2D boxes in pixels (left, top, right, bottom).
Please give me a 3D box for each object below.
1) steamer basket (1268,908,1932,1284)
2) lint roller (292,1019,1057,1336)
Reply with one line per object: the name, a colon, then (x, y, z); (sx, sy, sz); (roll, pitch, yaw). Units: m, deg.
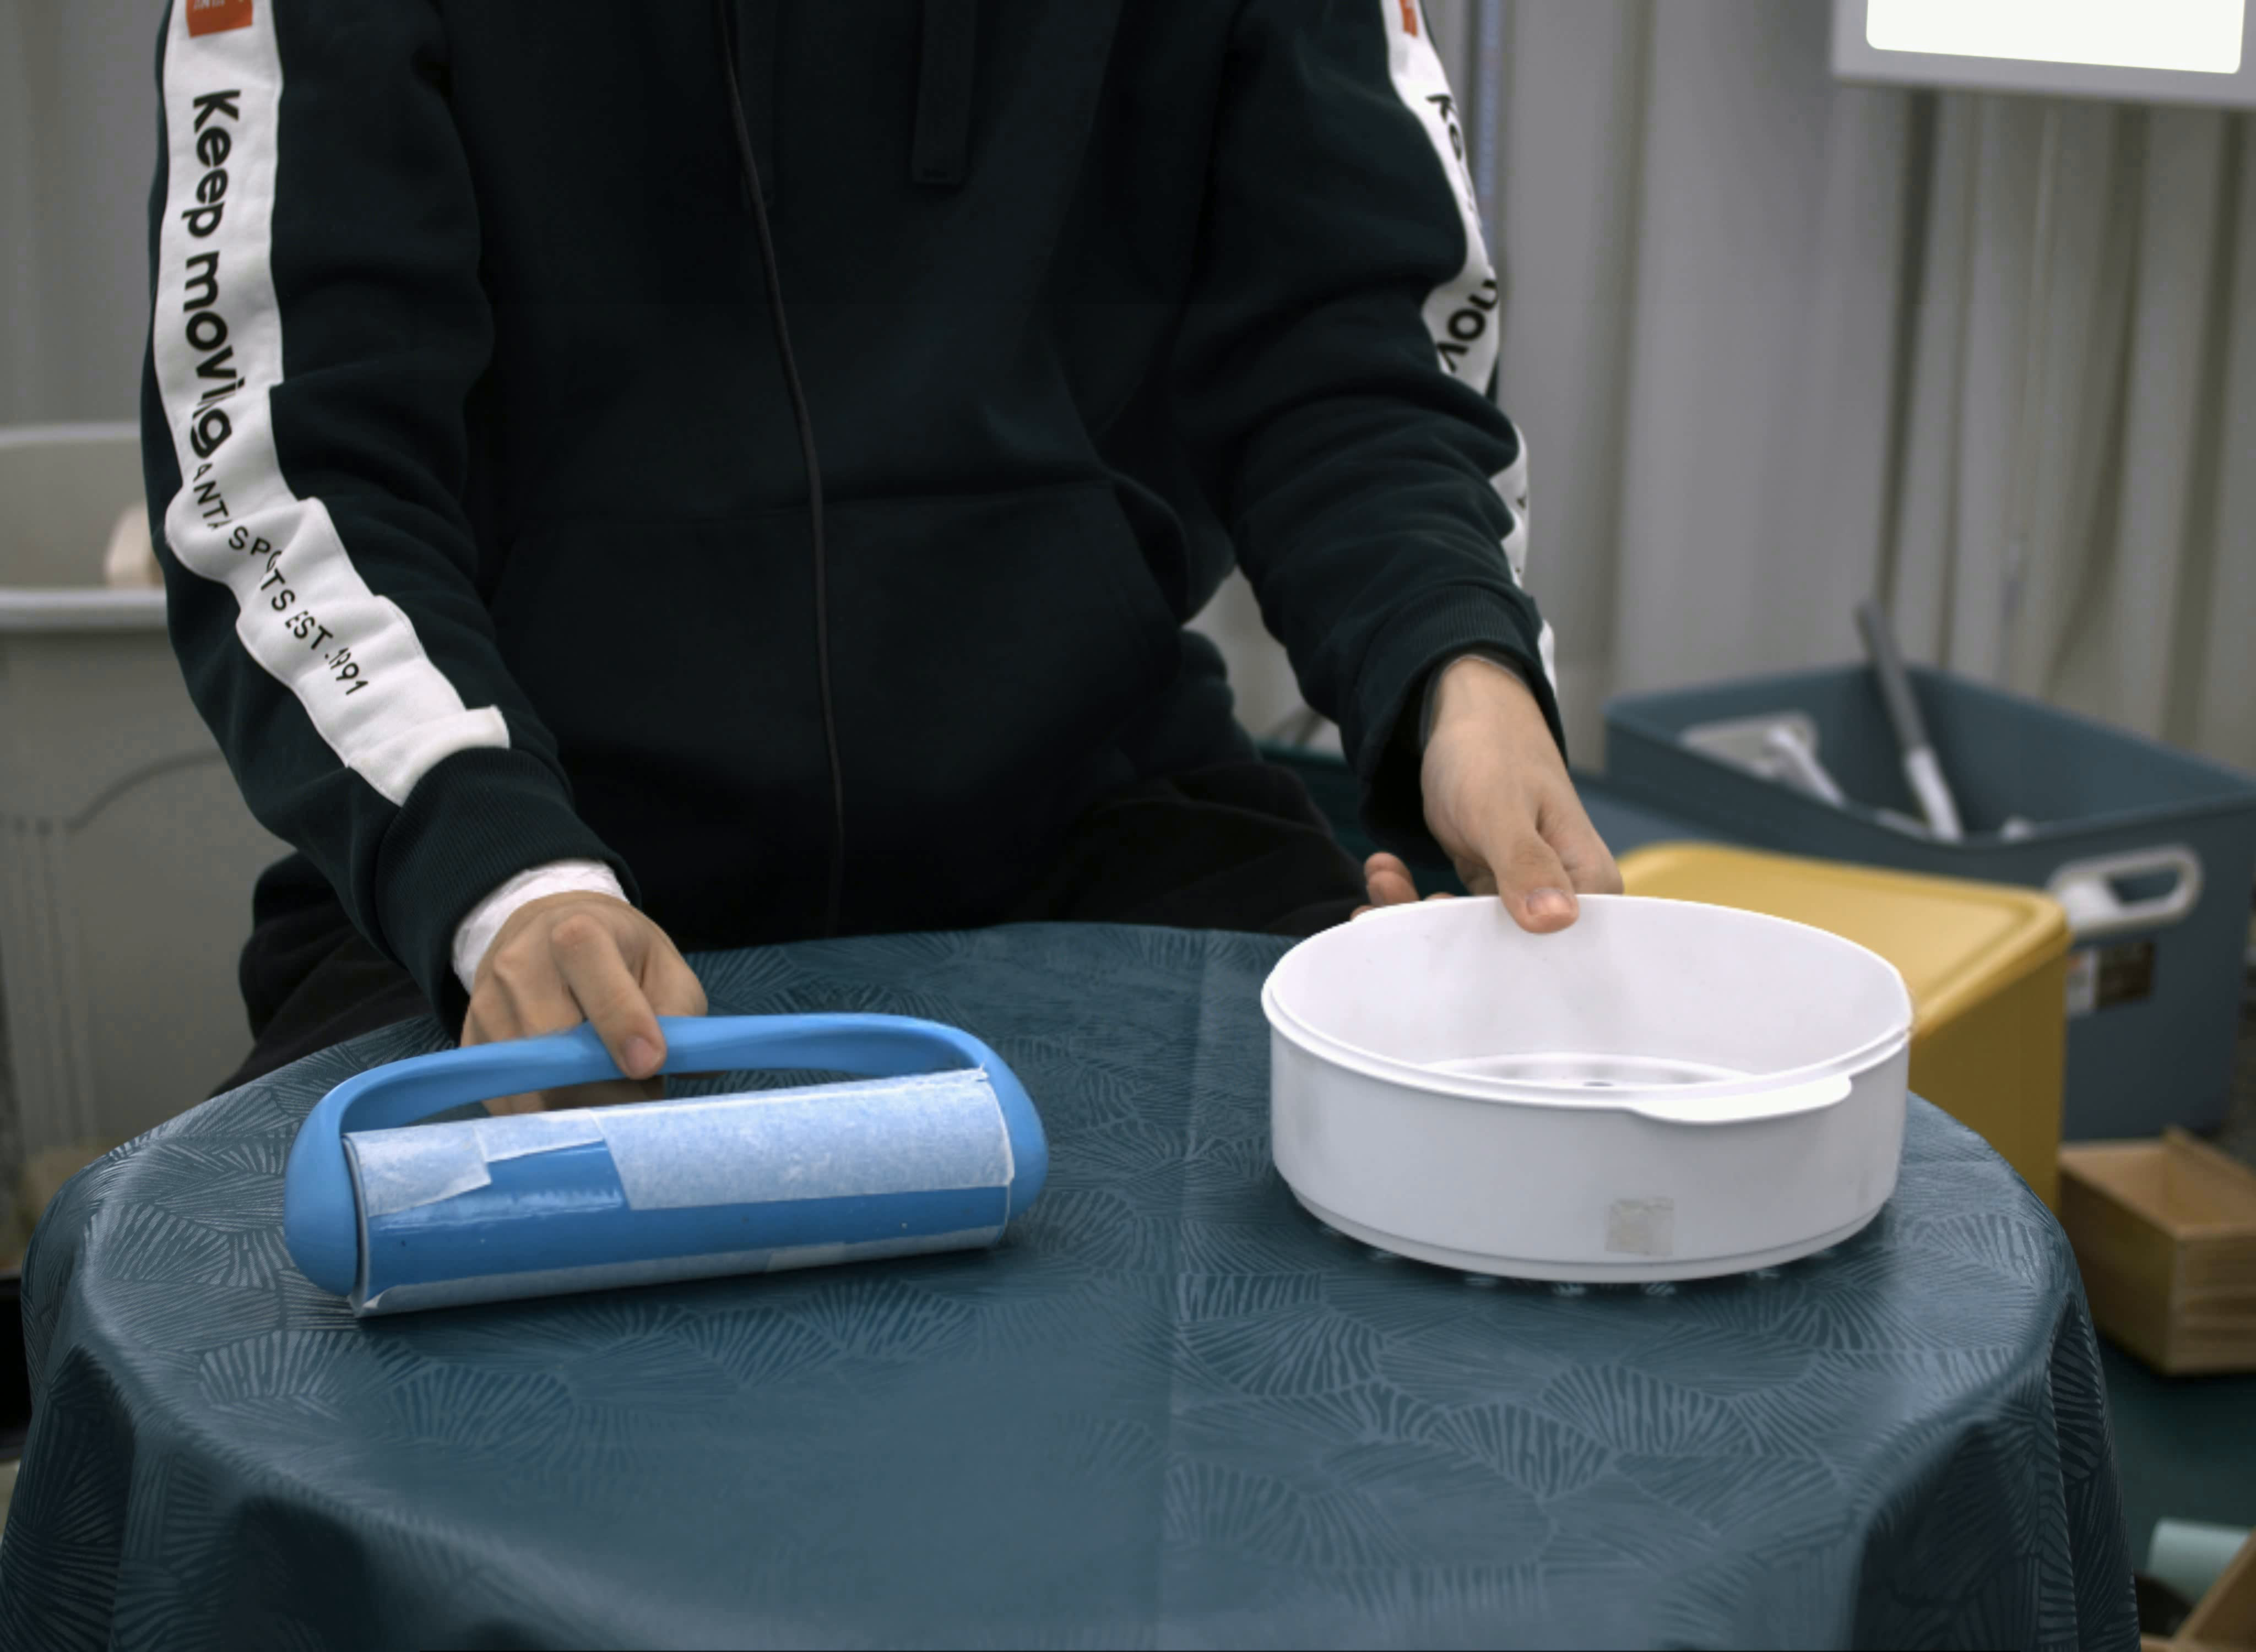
steamer basket: (0.143, 0.082, 1.607); (0.202, 0.070, 0.228); (-5, 15, -22)
lint roller: (-0.153, 0.092, 1.585); (0.229, 0.068, 0.178); (-8, 19, -22)
